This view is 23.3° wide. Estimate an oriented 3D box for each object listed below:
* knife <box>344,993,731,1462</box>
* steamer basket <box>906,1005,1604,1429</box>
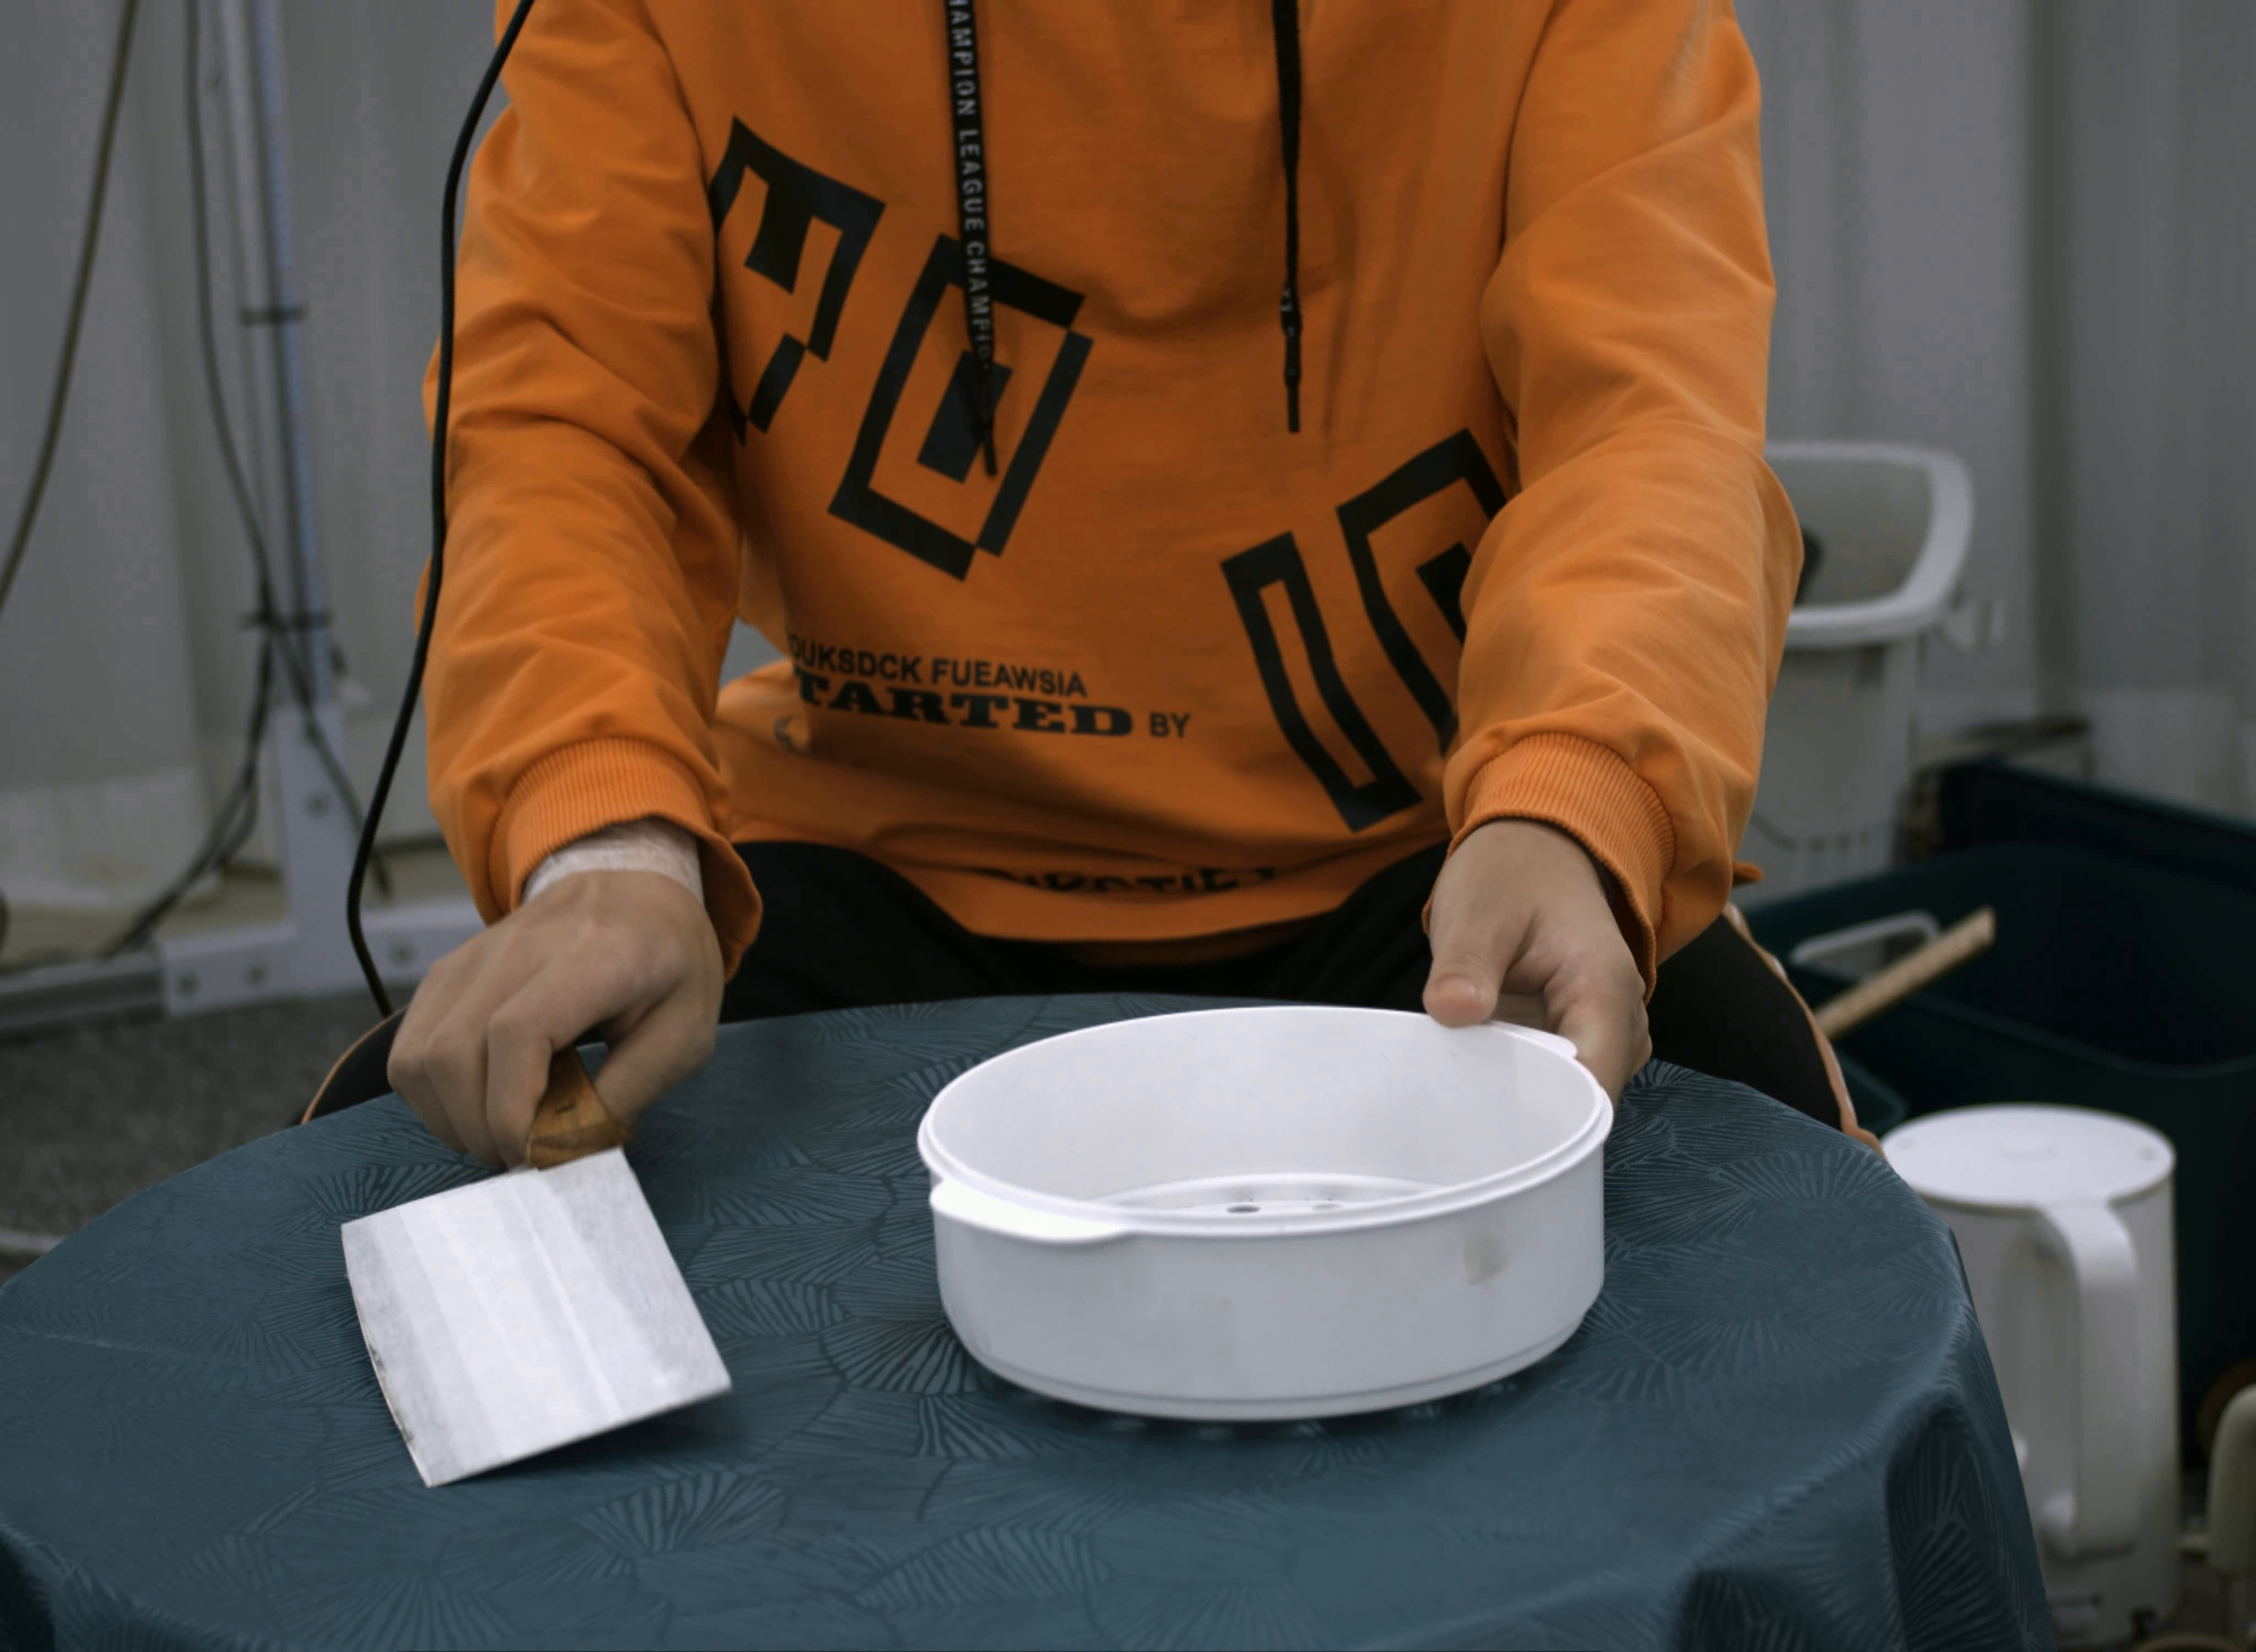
[{"bbox_3d":[-0.189,0.120,1.649,0.092,0.021,0.309,-19,22,-9],"label":"knife"},{"bbox_3d":[0.038,0.113,1.579,0.203,0.069,0.230,10,21,43],"label":"steamer basket"}]
